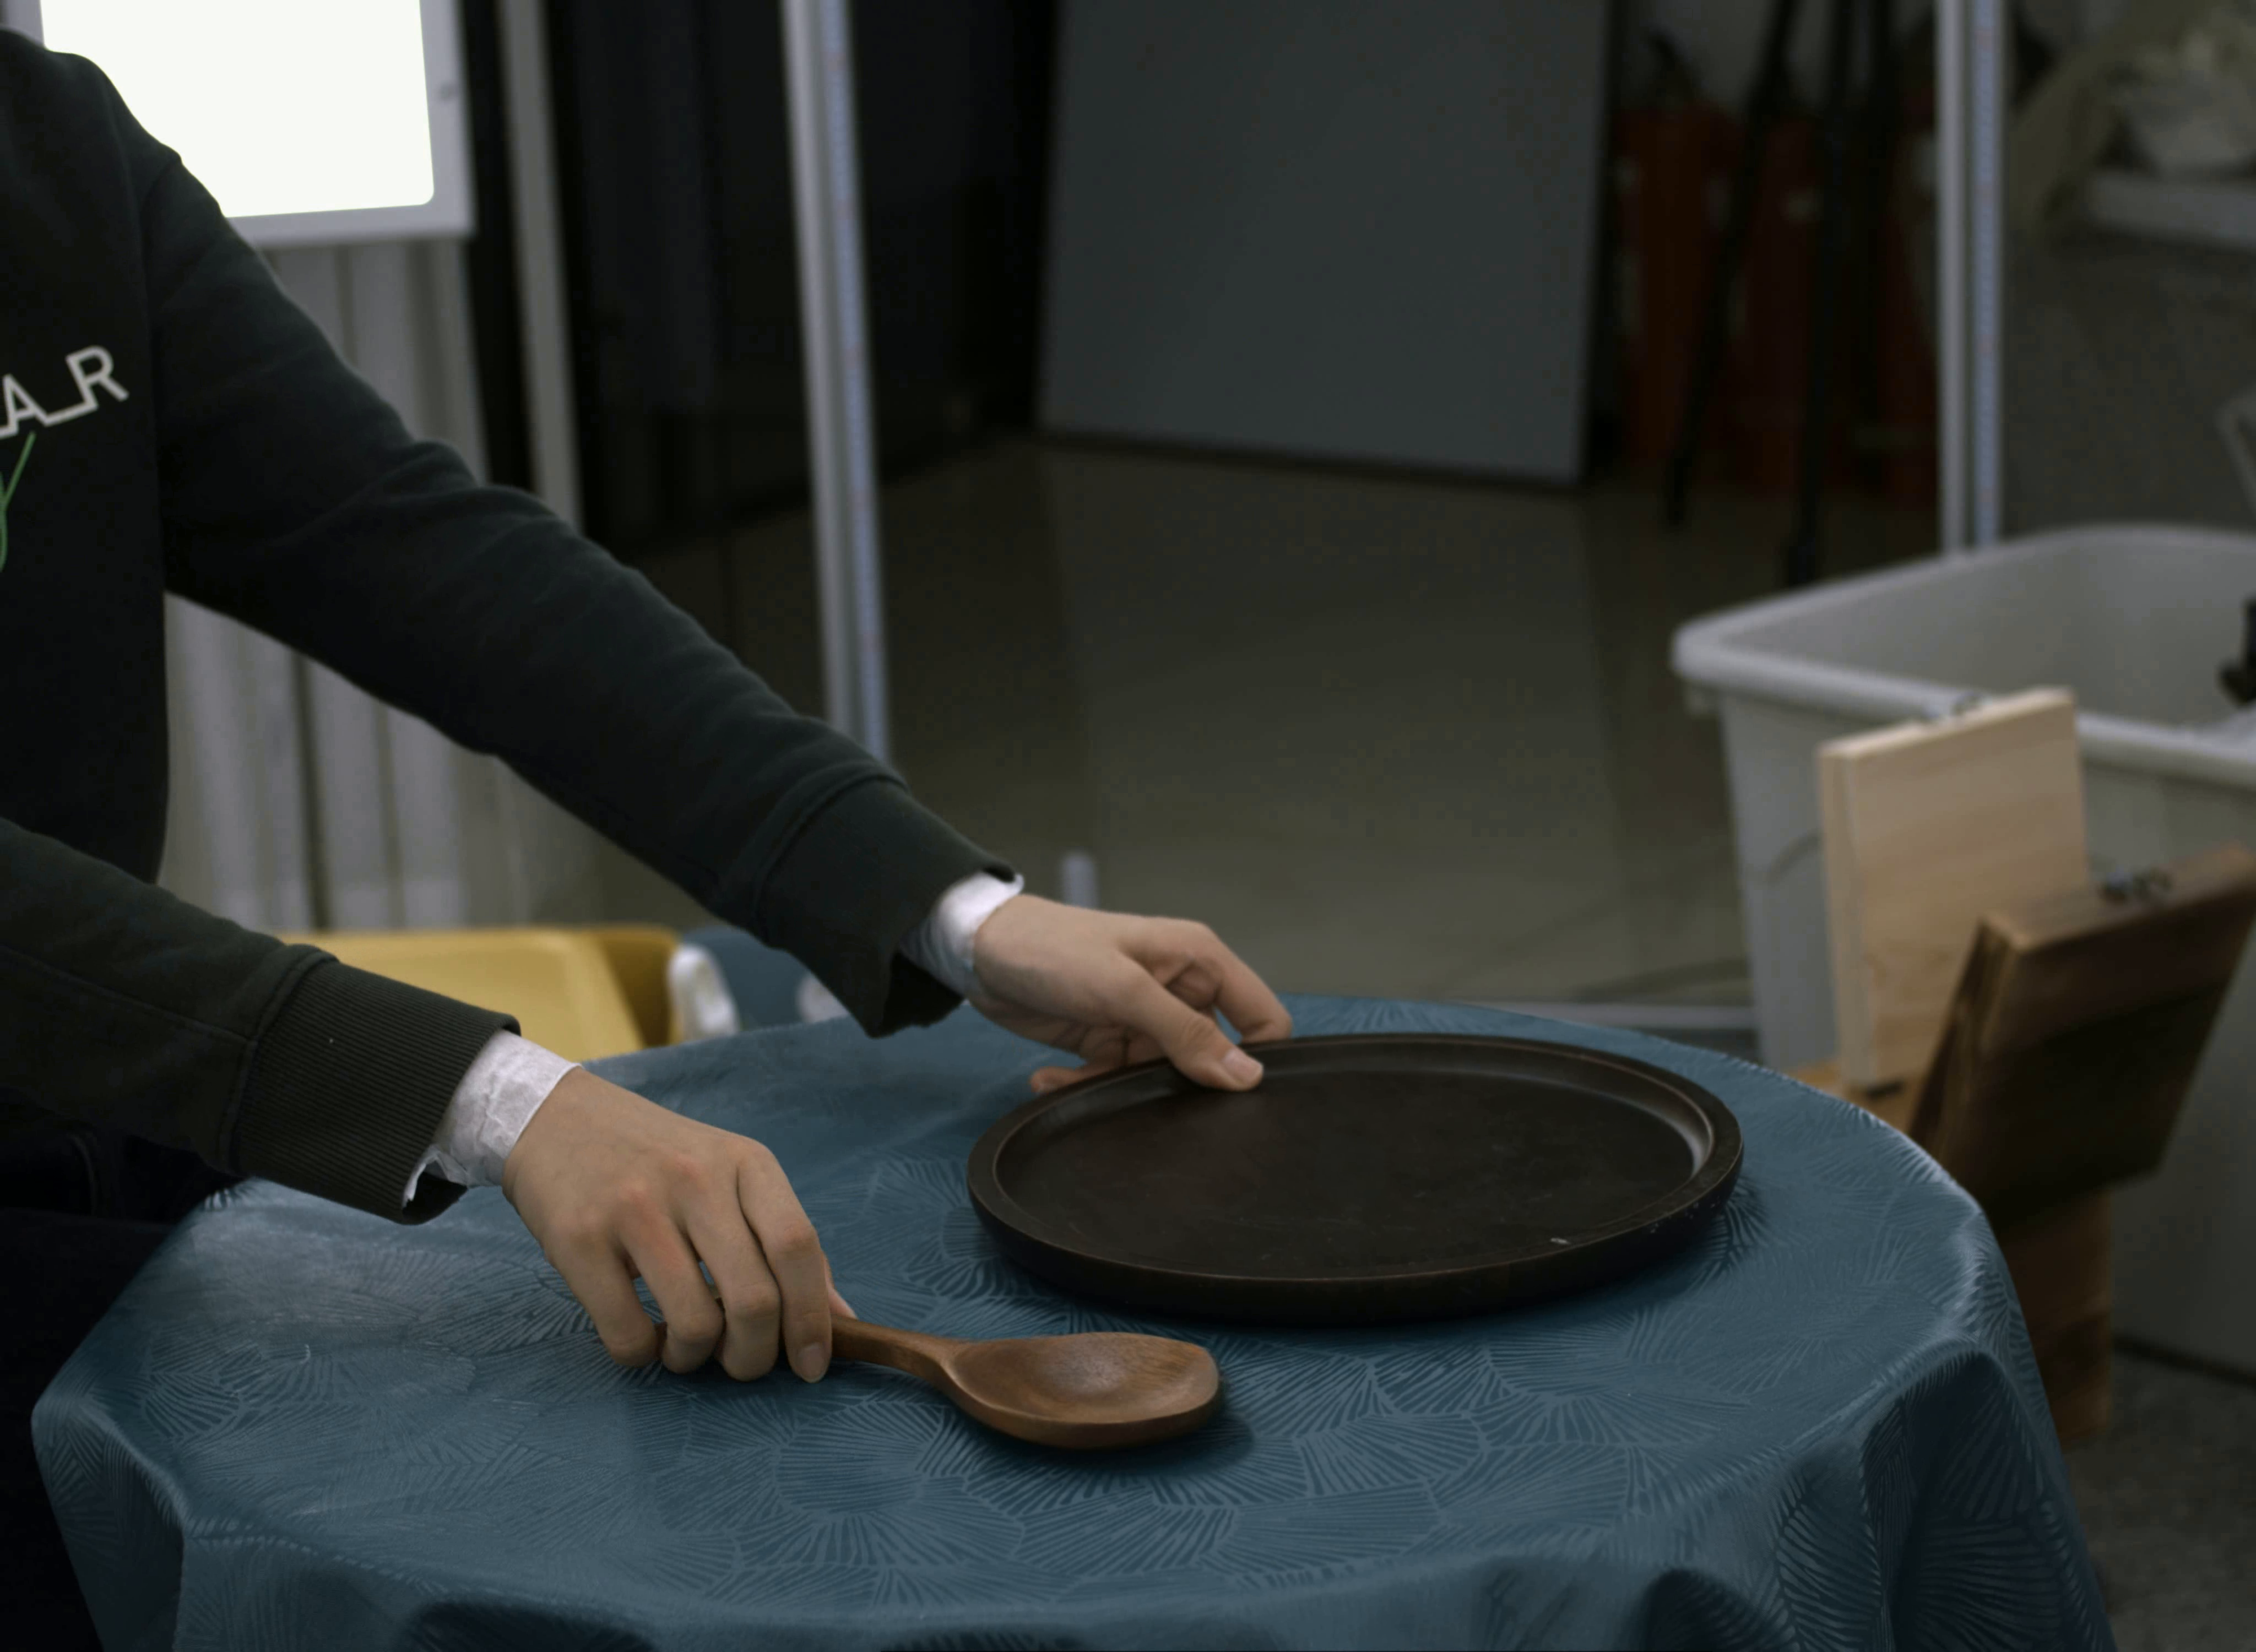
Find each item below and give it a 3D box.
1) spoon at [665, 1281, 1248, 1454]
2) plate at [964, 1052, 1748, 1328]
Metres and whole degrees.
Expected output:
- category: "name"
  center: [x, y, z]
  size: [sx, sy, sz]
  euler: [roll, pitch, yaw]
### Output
- category: "spoon"
  center: [-0.055, 0.159, 1.598]
  size: [0.217, 0.017, 0.074]
  euler: [8, 19, 40]
- category: "plate"
  center: [0.074, 0.114, 1.732]
  size: [0.251, 0.029, 0.255]
  euler: [-3, 14, 0]
